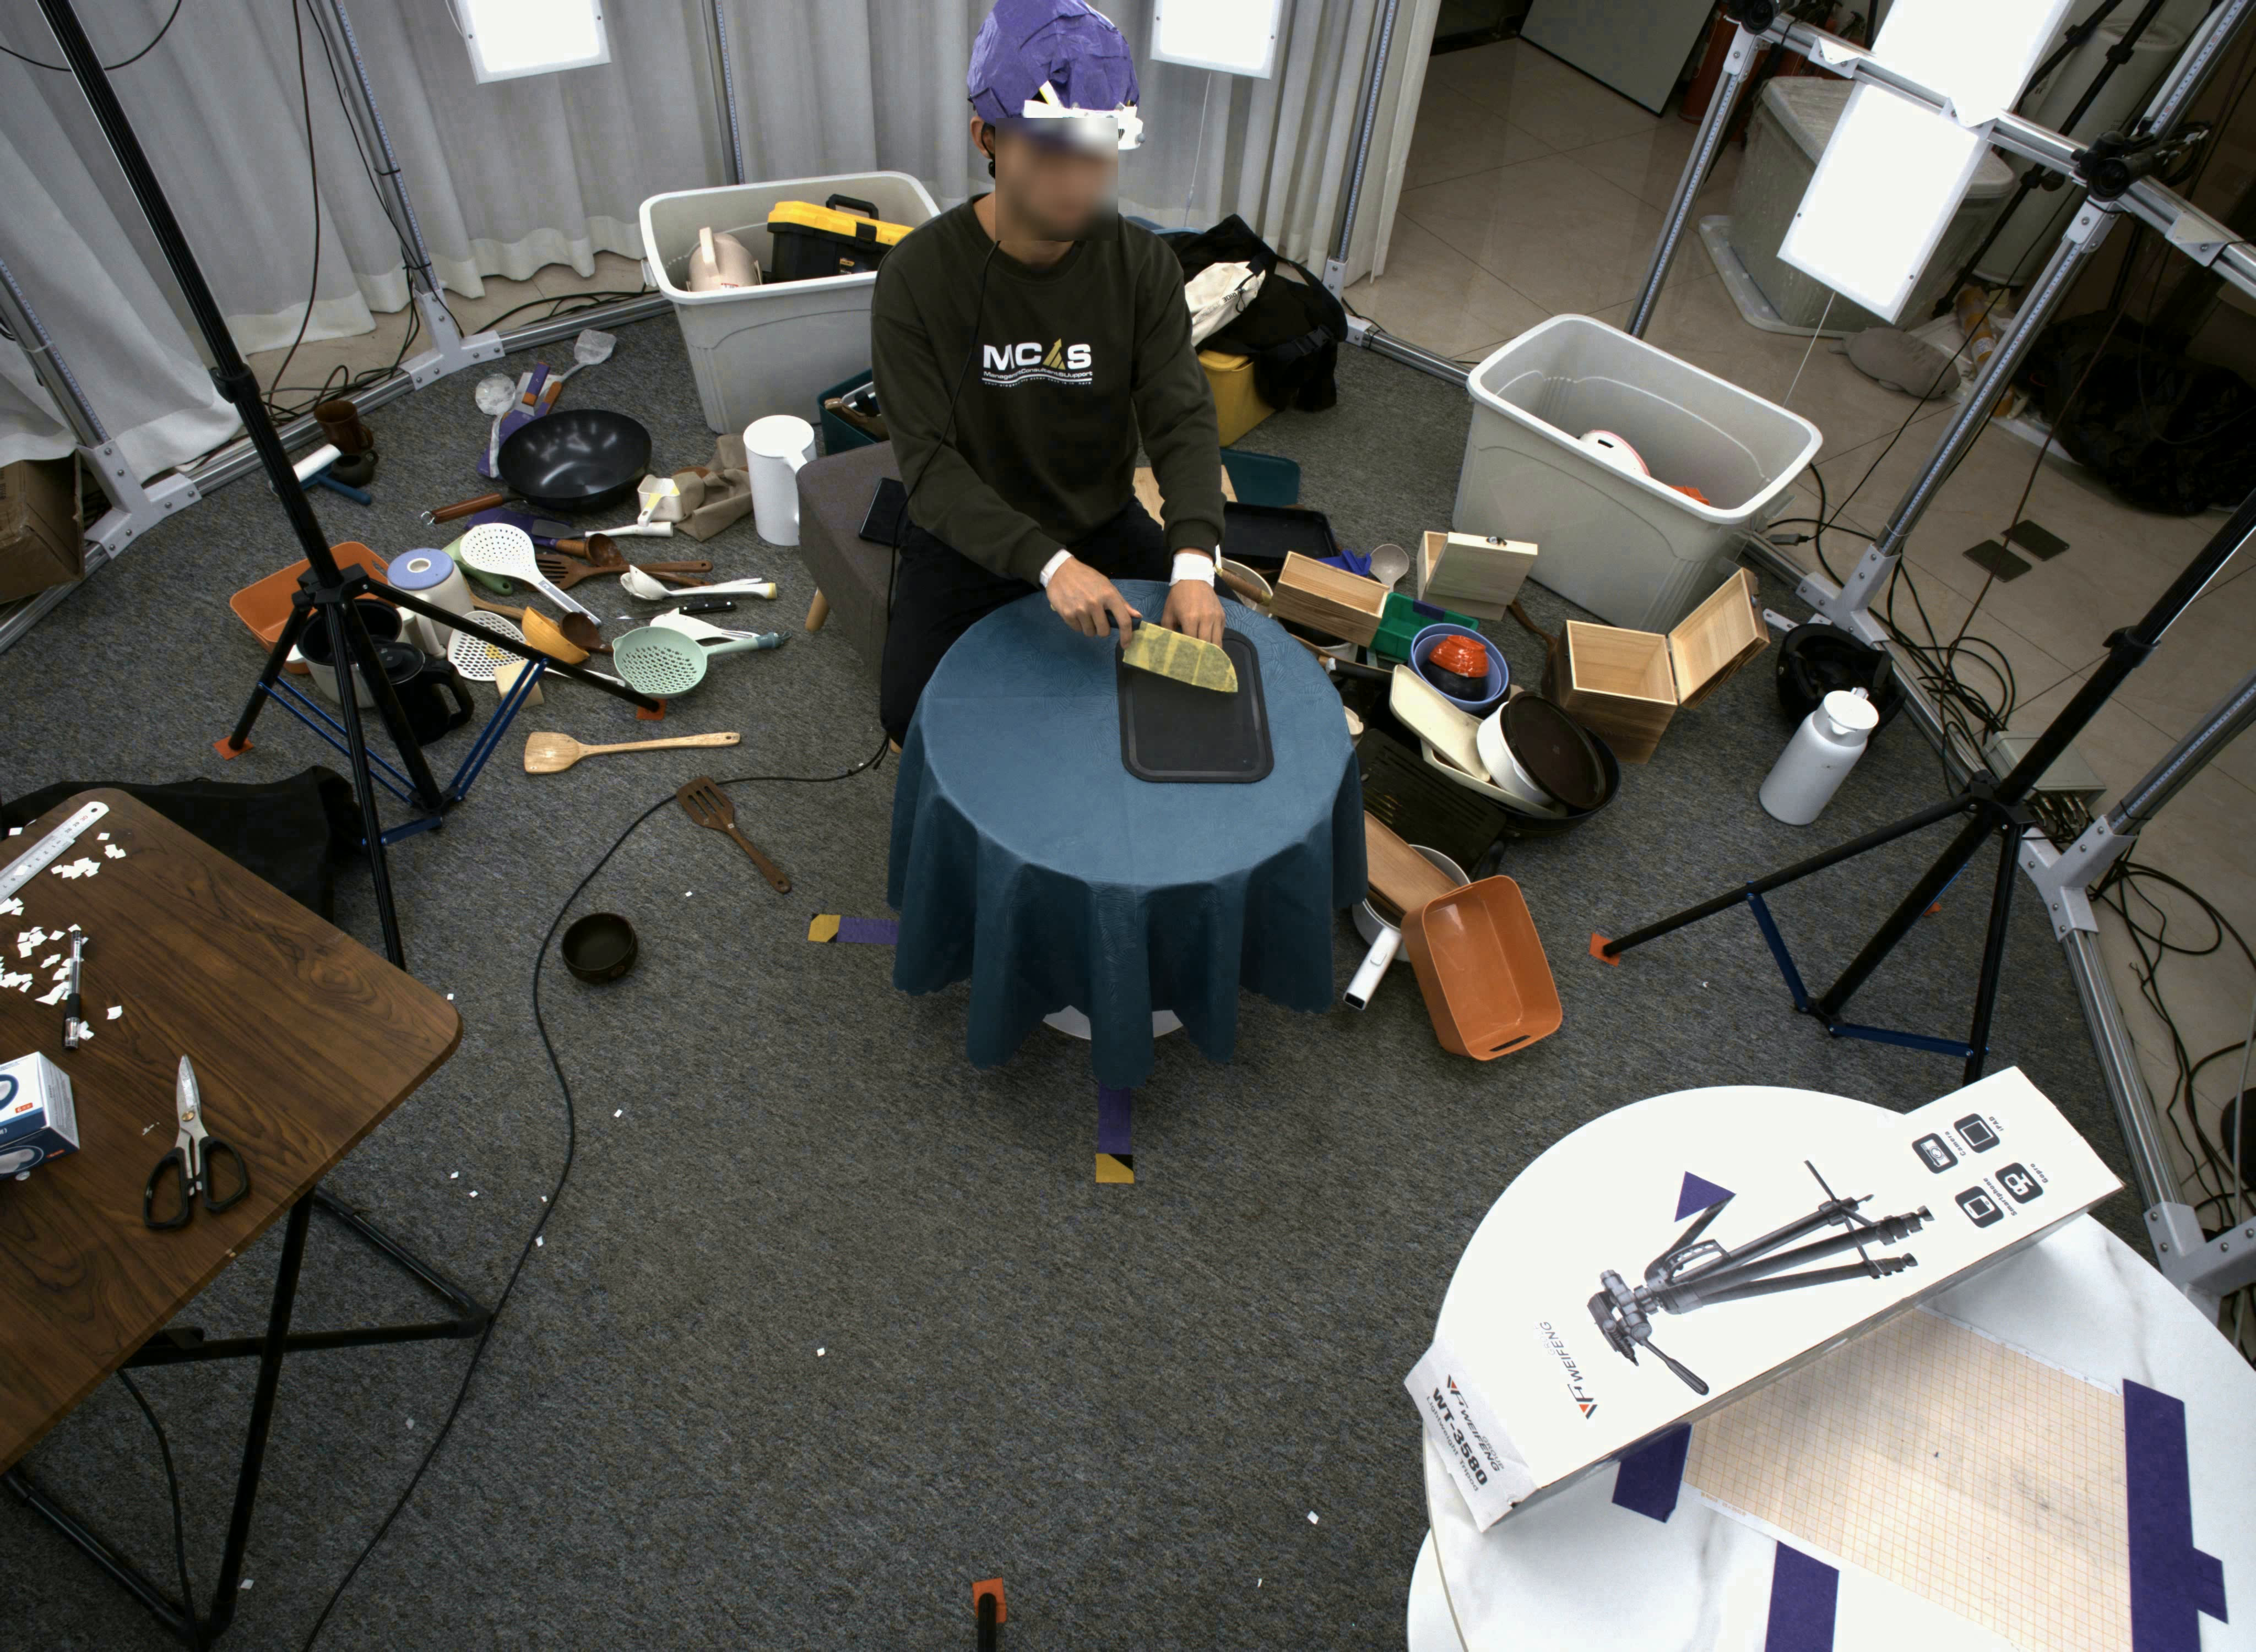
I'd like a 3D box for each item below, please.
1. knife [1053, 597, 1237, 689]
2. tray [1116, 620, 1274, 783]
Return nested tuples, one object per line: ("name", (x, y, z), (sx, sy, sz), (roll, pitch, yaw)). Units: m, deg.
("knife", (0.023, -0.263, 1.843), (0.290, 0.079, 0.027), (23, 33, 9))
("tray", (0.091, -0.186, 1.829), (0.211, 0.009, 0.333), (0, 49, -4))
